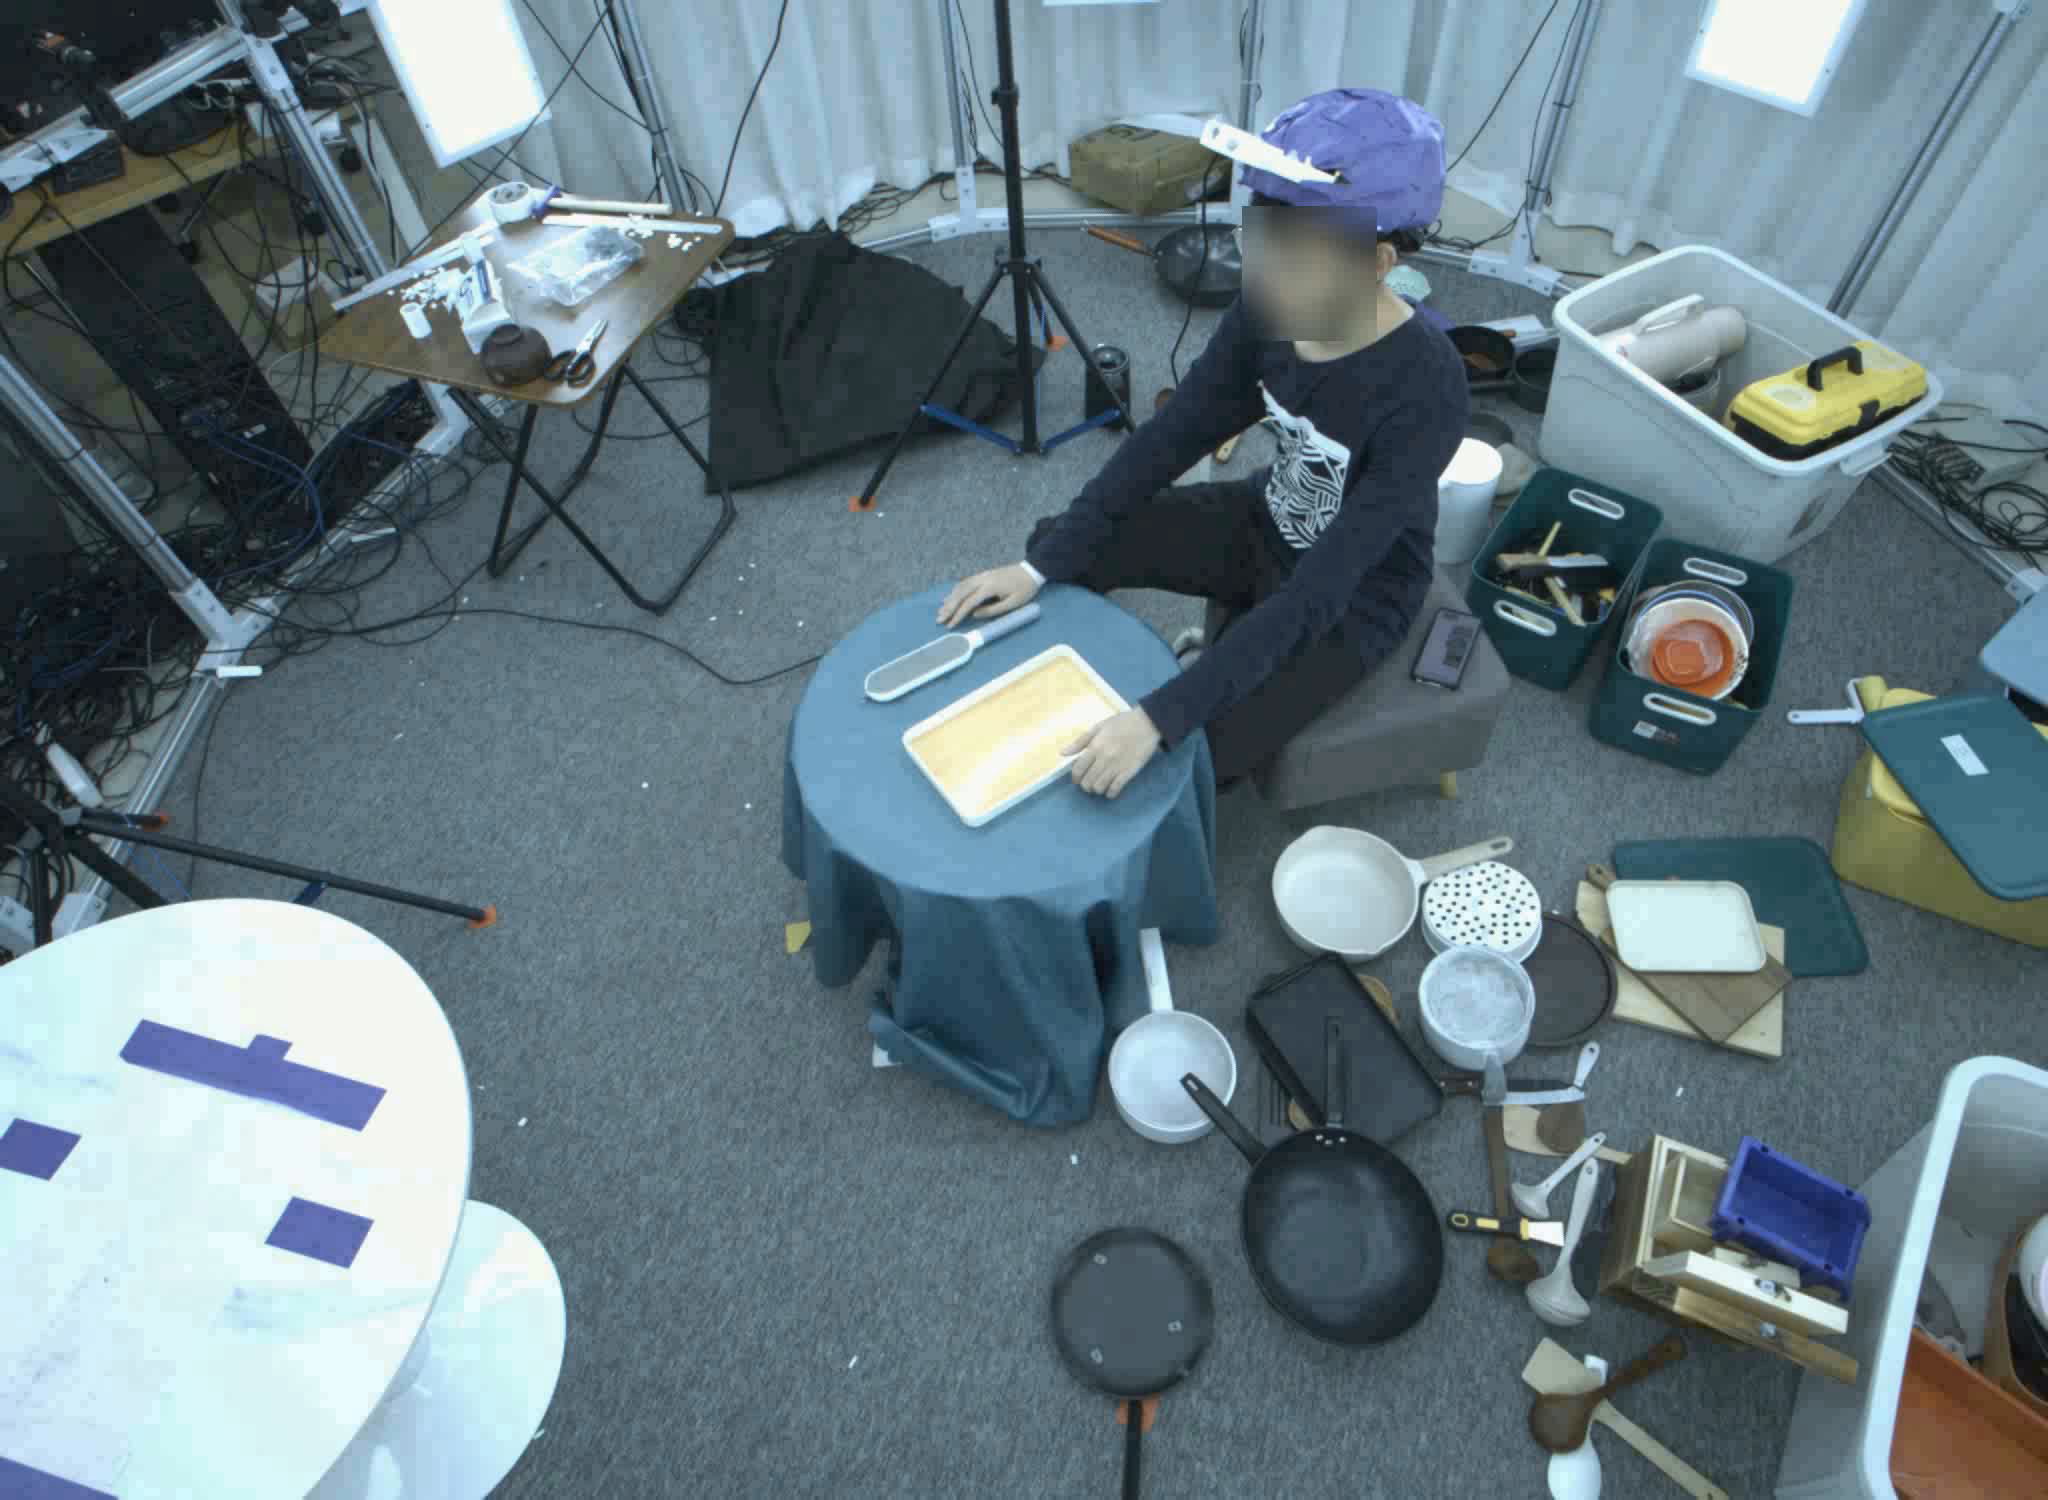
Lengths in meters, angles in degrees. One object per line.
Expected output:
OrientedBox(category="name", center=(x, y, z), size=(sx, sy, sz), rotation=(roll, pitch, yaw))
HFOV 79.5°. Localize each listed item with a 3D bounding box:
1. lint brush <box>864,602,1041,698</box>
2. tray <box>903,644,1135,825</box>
OrientedBox(category="lint brush", center=(-0.107, -0.157, 1.894), size=(0.311, 0.021, 0.059), rotation=(-28, 52, -18))
OrientedBox(category="tray", center=(-0.007, -0.028, 1.799), size=(0.303, 0.027, 0.188), rotation=(-30, 60, -19))
